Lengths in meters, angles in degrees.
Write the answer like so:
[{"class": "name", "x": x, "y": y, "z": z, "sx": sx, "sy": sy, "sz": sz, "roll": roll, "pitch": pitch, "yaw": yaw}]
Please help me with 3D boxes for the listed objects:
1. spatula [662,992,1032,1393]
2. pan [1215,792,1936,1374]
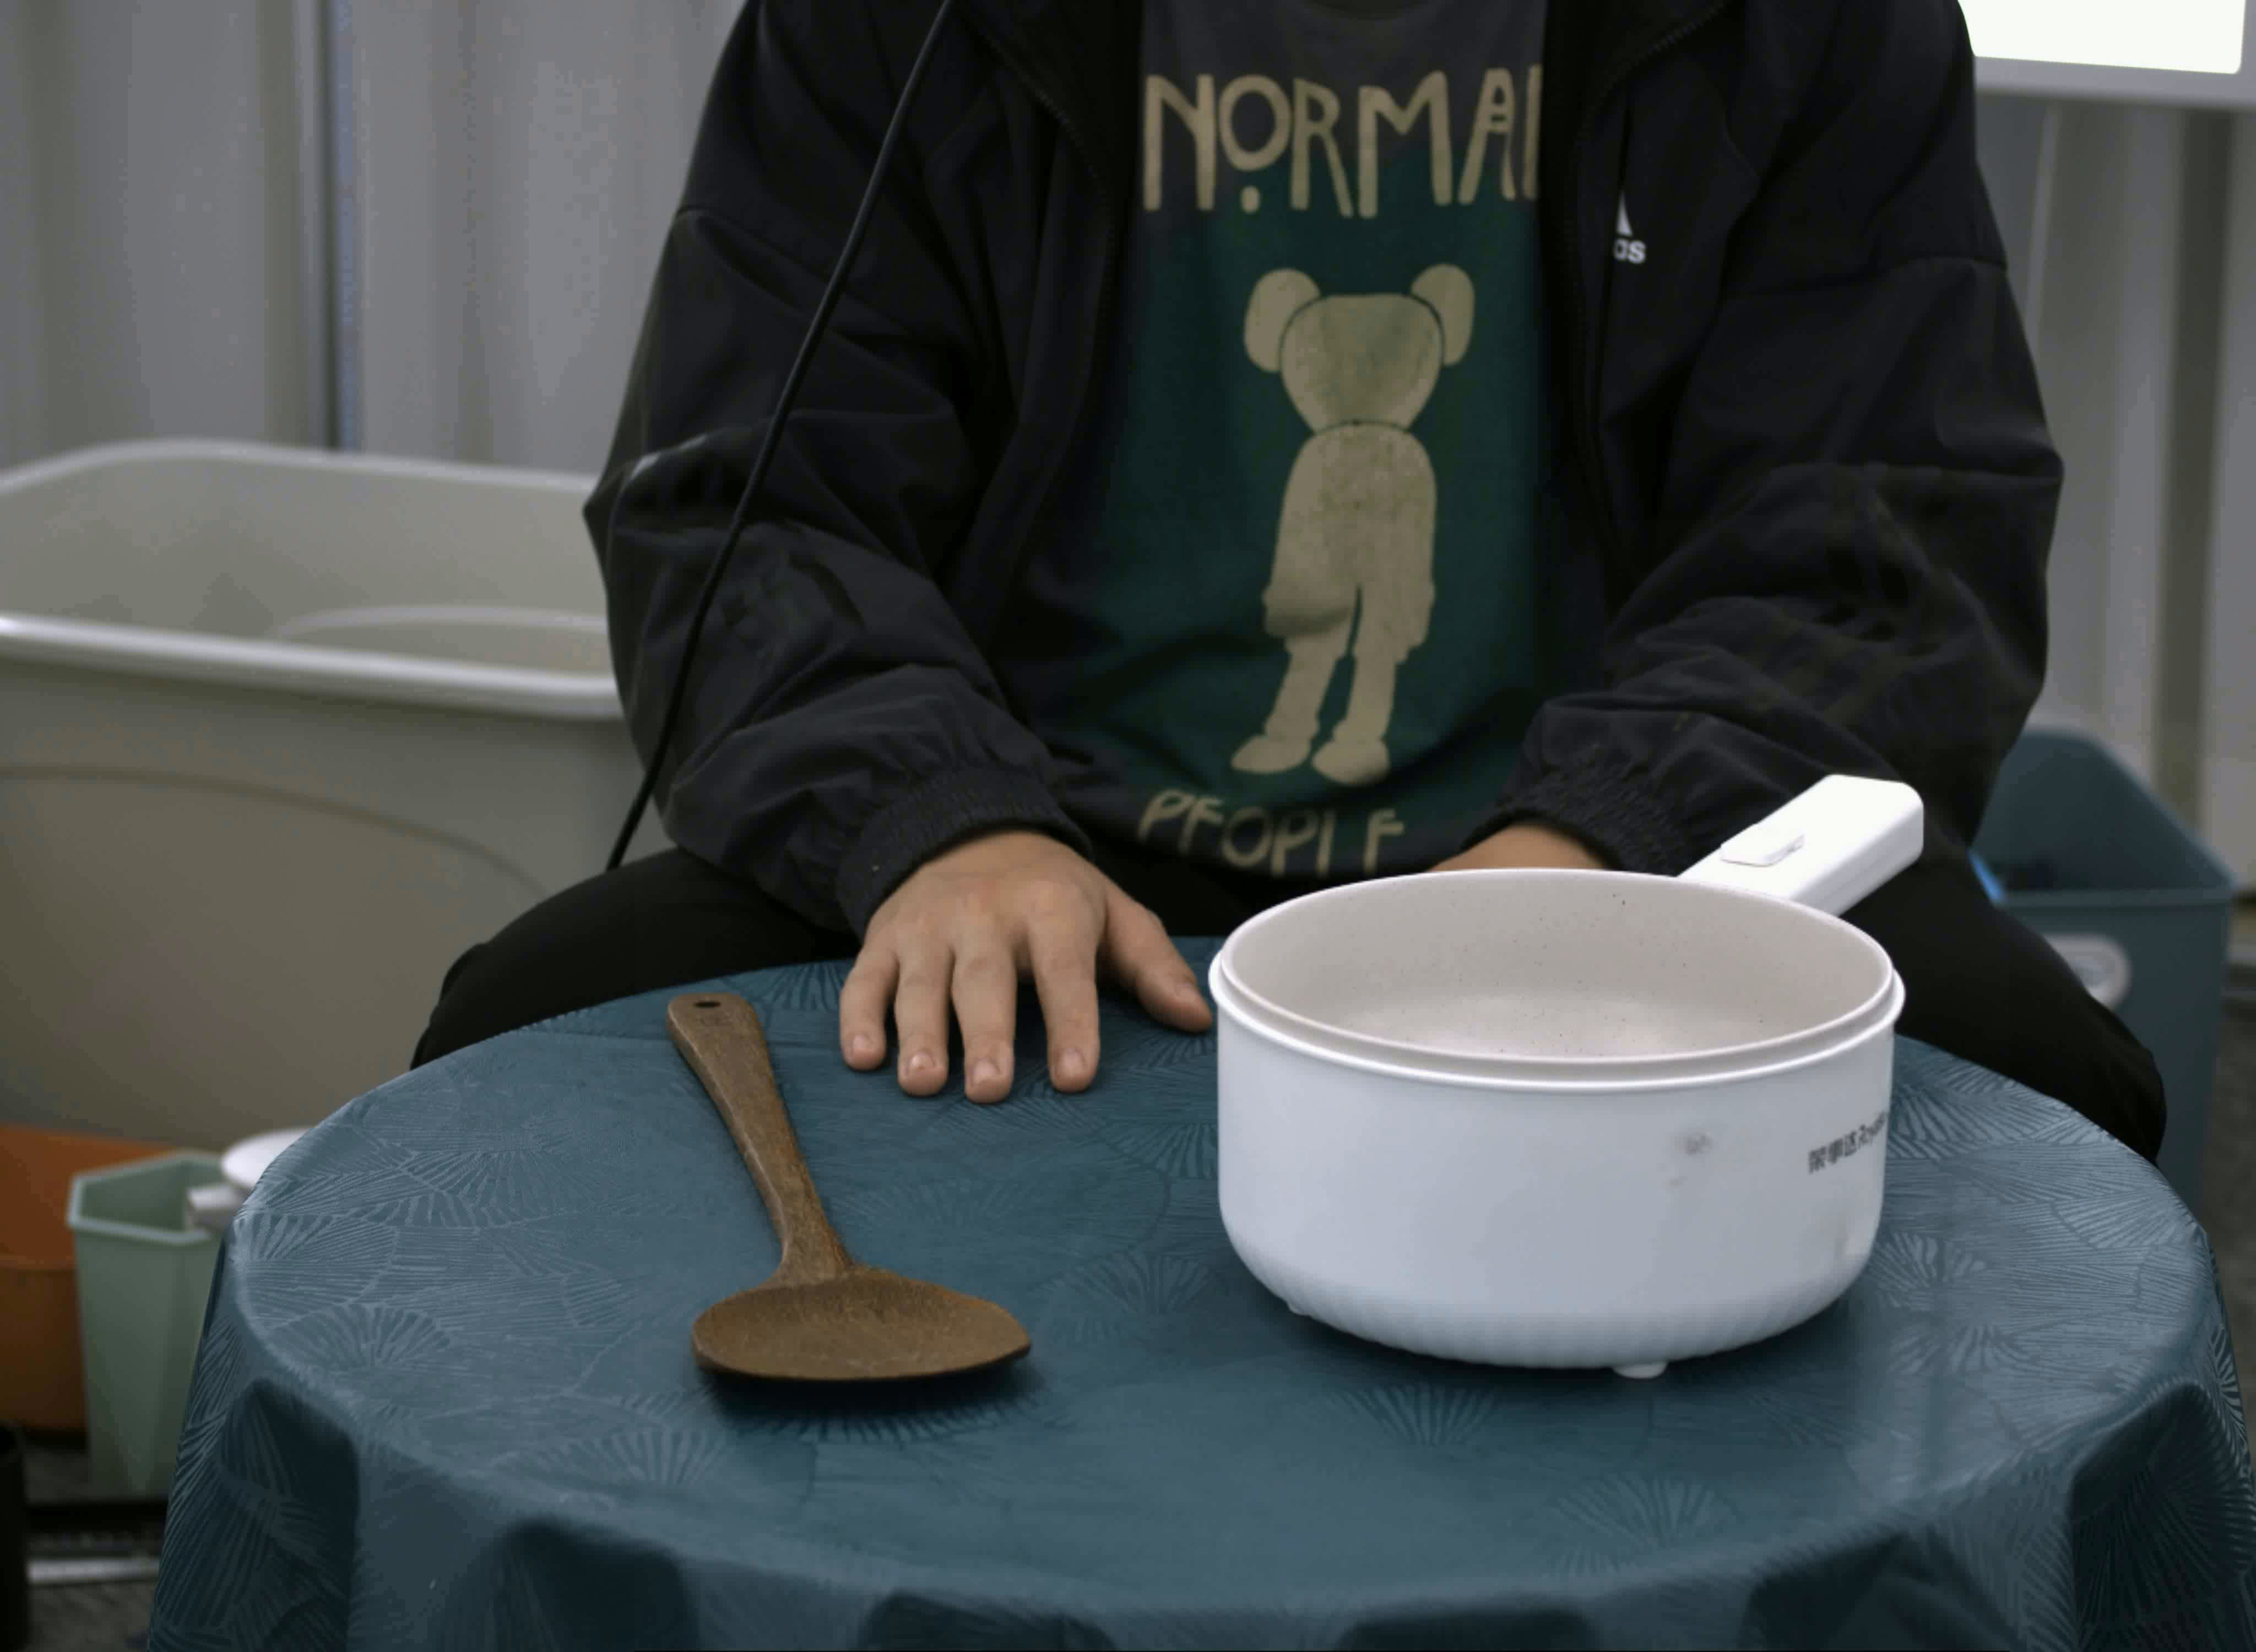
[{"class": "spatula", "x": -0.107, "y": 0.106, "z": 1.617, "sx": 0.096, "sy": 0.016, "sz": 0.382, "roll": -2, "pitch": 15, "yaw": -12}, {"class": "pan", "x": 0.161, "y": 0.071, "z": 1.599, "sx": 0.199, "sy": 0.103, "sz": 0.356, "roll": 8, "pitch": 15, "yaw": 27}]
